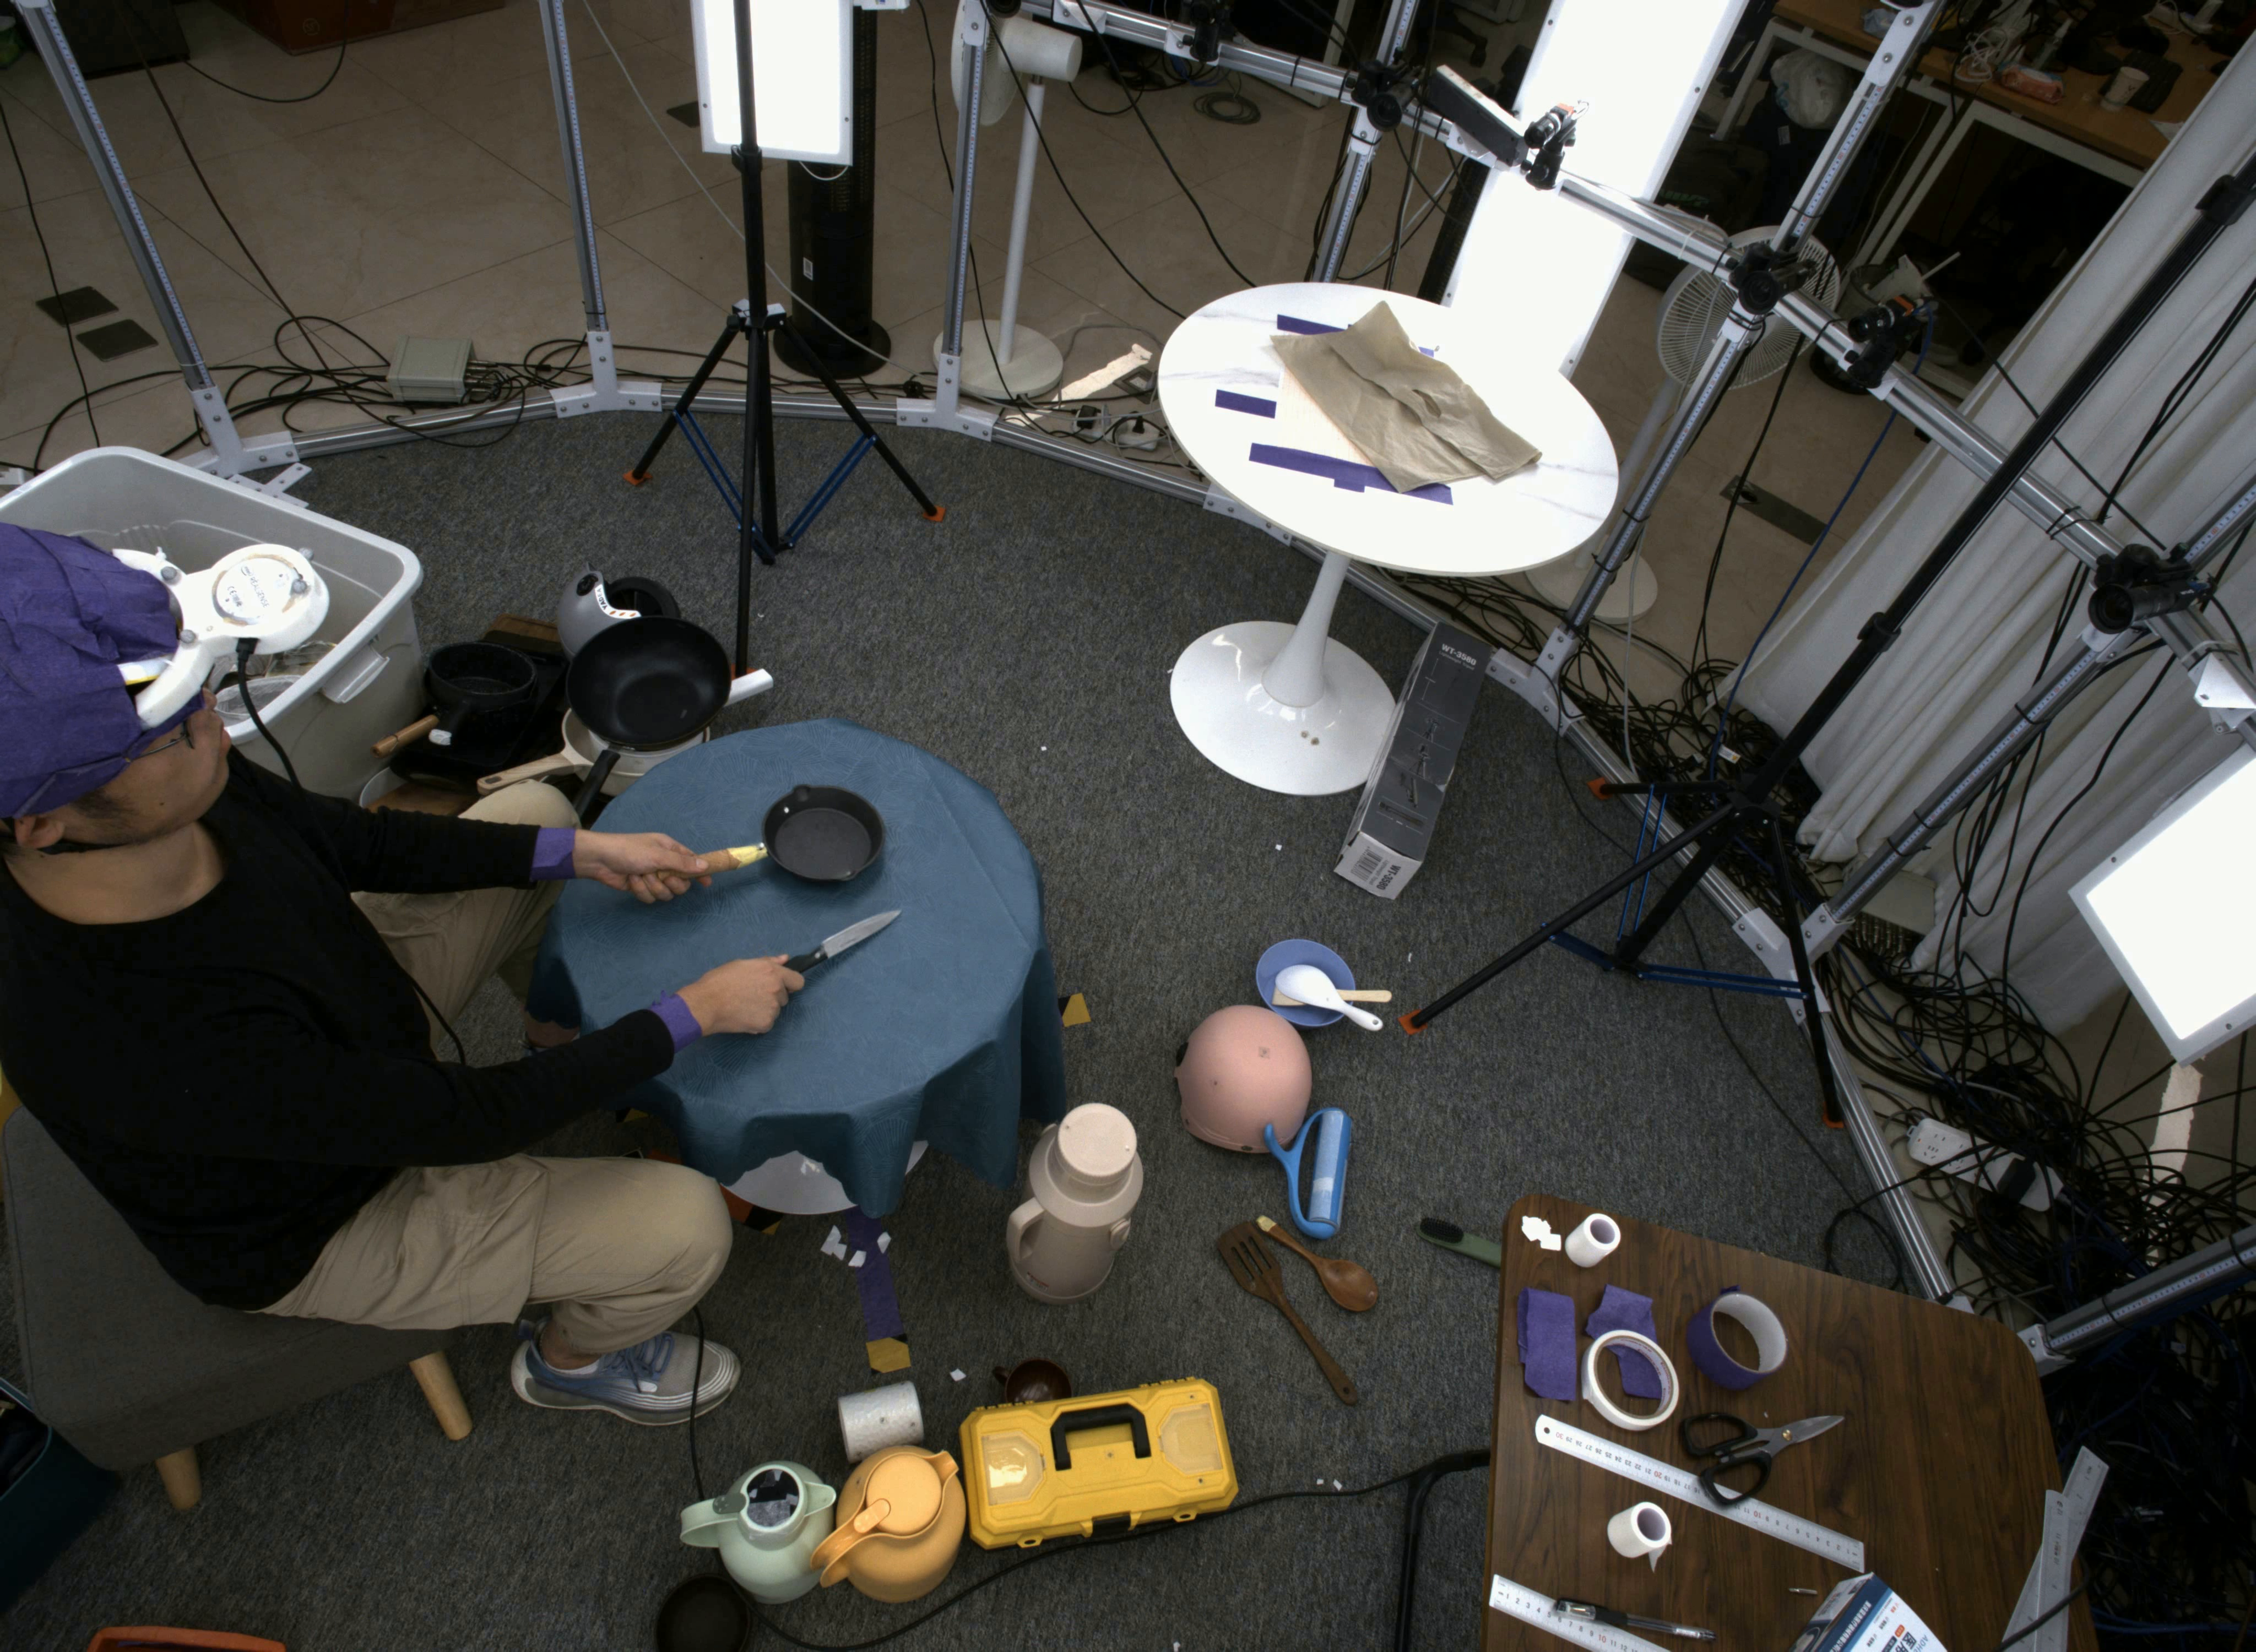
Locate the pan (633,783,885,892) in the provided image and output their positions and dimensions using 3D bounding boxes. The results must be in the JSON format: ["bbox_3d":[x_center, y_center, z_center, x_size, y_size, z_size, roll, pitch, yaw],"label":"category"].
[{"bbox_3d":[-0.467,0.031,1.645,0.326,0.050,0.164,-16,58,-28],"label":"pan"}]

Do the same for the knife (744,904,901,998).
[{"bbox_3d":[-0.368,0.149,1.596,0.239,0.016,0.024,-31,84,-41],"label":"knife"}]
